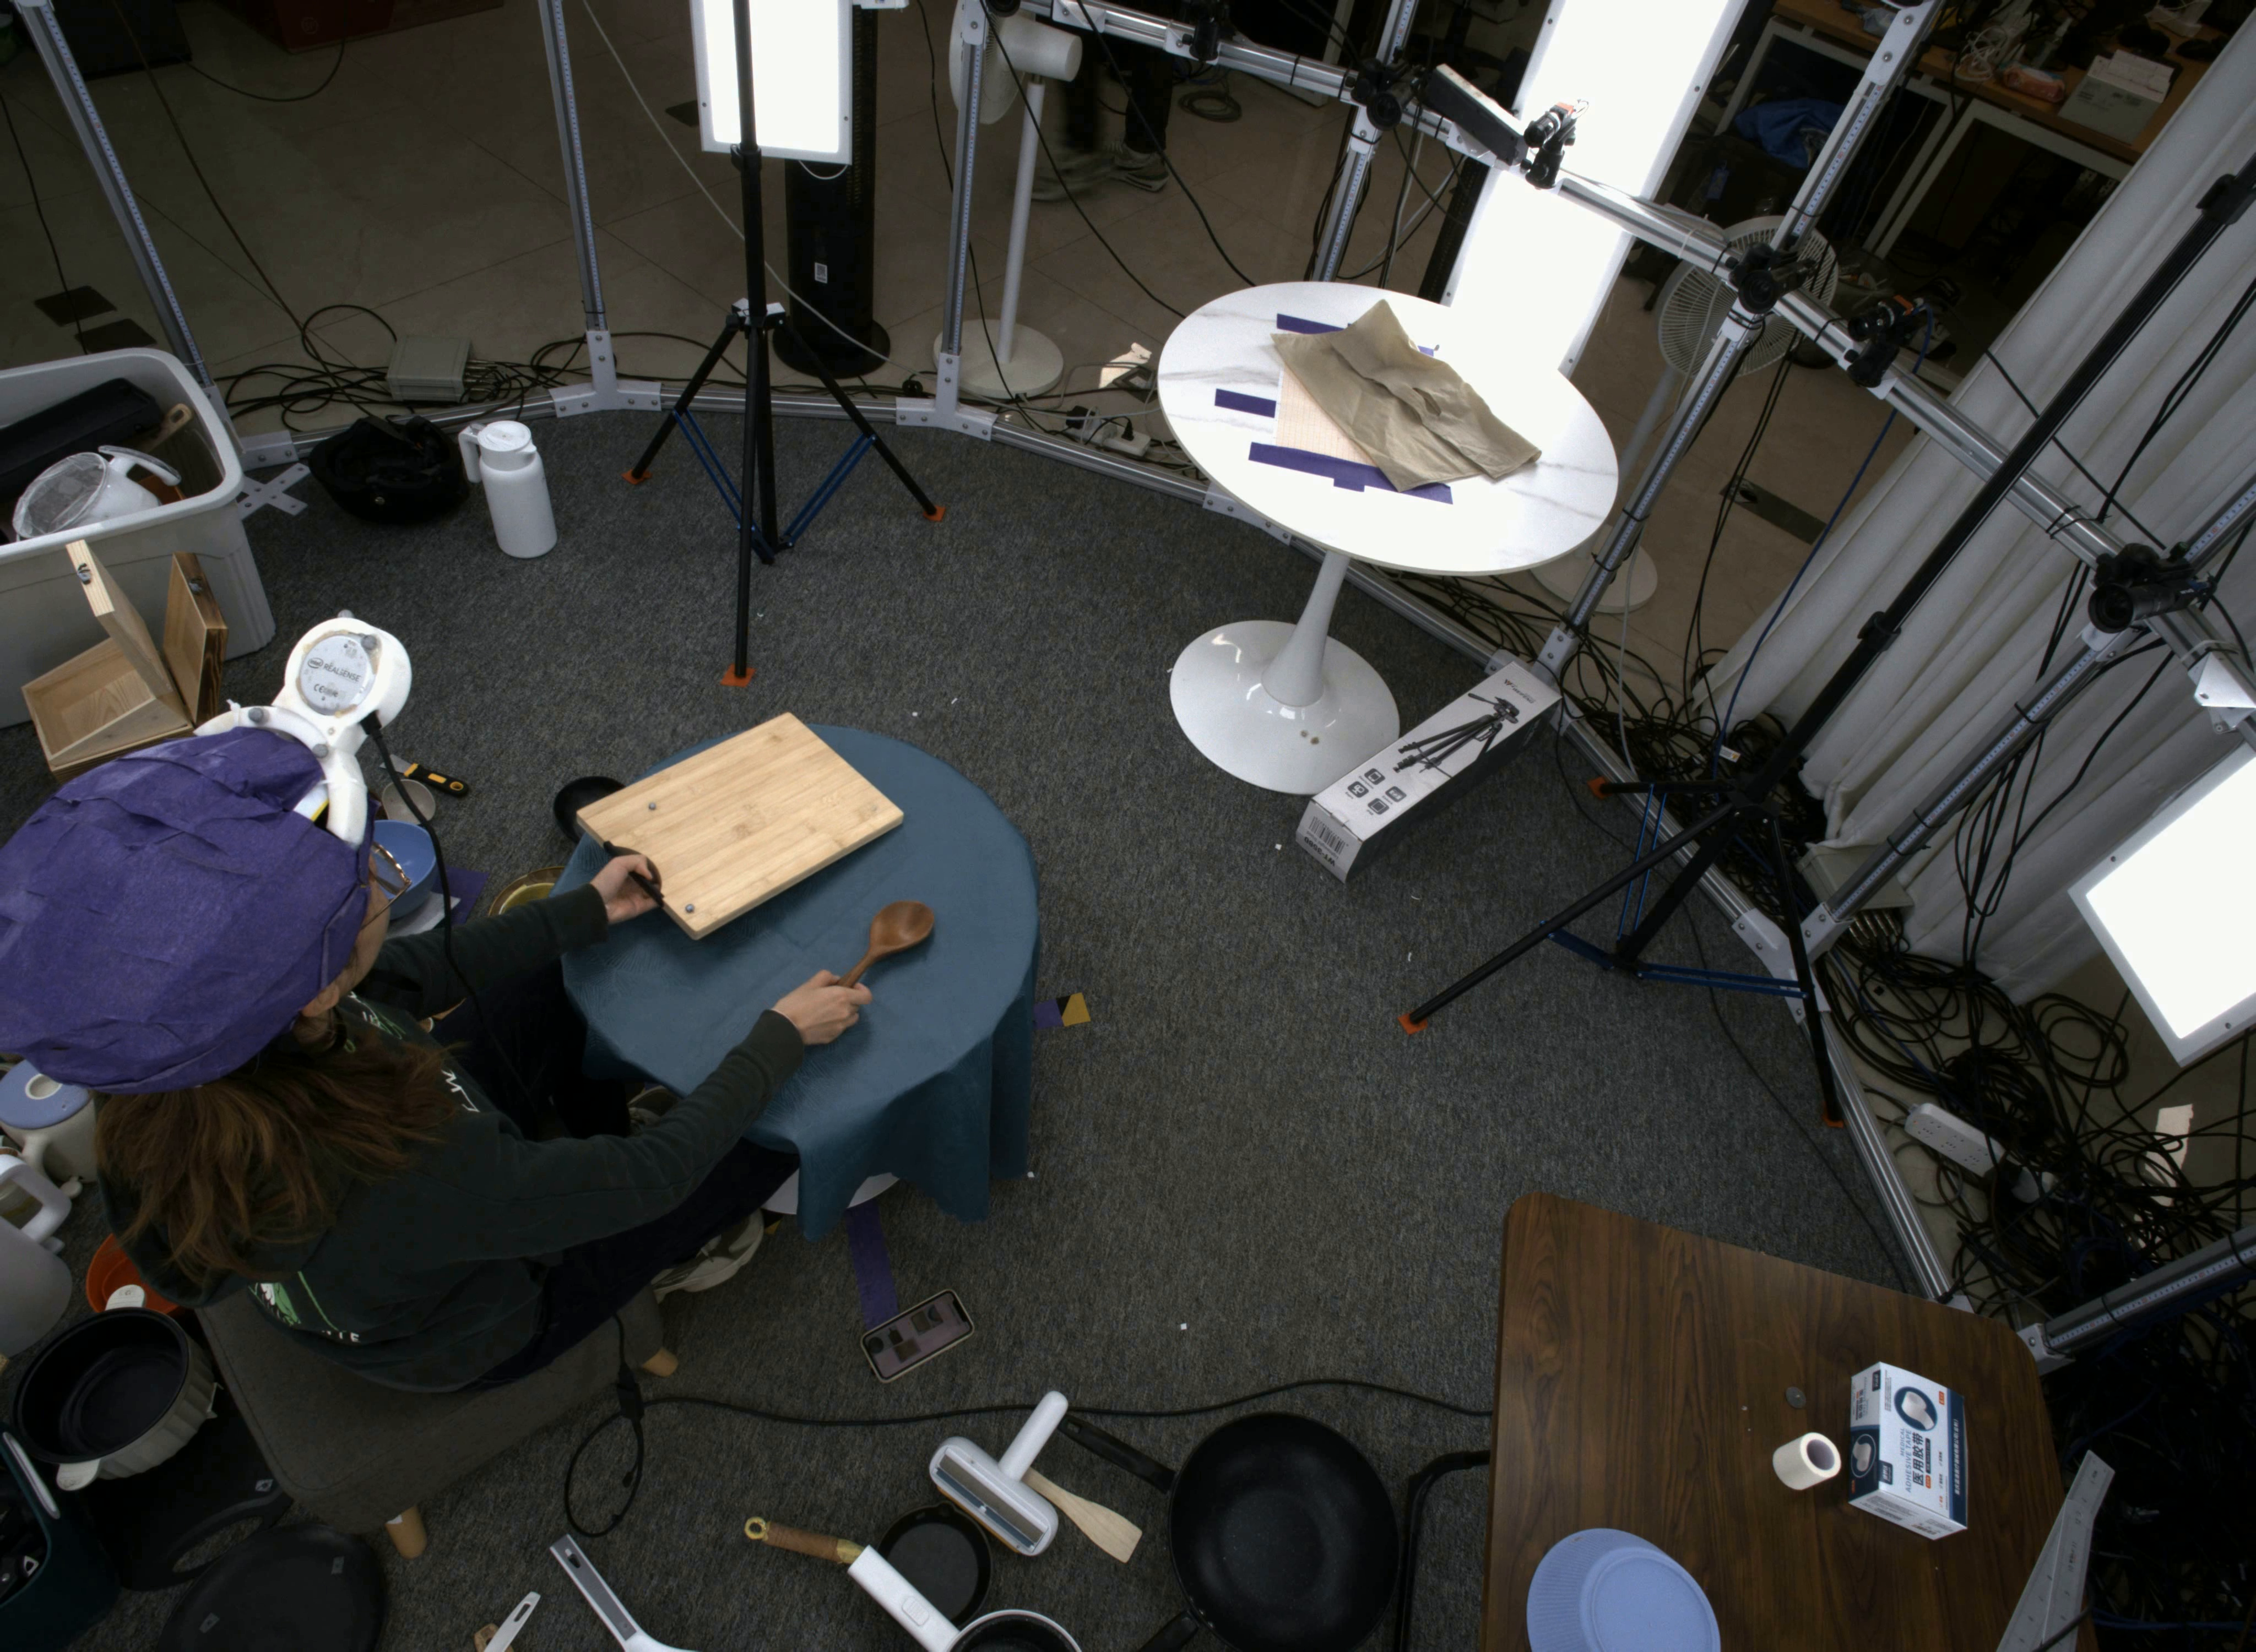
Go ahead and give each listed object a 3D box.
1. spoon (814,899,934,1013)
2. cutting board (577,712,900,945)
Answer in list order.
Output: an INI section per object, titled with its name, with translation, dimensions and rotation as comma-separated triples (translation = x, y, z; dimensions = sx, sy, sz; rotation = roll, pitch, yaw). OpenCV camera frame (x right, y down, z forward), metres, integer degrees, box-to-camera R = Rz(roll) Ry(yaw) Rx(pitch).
[spoon]
translation = -0.317, 0.159, 1.609
dimensions = 0.074, 0.018, 0.215
rotation = 26, 42, 14
[cutting board]
translation = -0.500, -0.009, 1.673
dimensions = 0.245, 0.024, 0.350
rotation = 39, 46, 16
